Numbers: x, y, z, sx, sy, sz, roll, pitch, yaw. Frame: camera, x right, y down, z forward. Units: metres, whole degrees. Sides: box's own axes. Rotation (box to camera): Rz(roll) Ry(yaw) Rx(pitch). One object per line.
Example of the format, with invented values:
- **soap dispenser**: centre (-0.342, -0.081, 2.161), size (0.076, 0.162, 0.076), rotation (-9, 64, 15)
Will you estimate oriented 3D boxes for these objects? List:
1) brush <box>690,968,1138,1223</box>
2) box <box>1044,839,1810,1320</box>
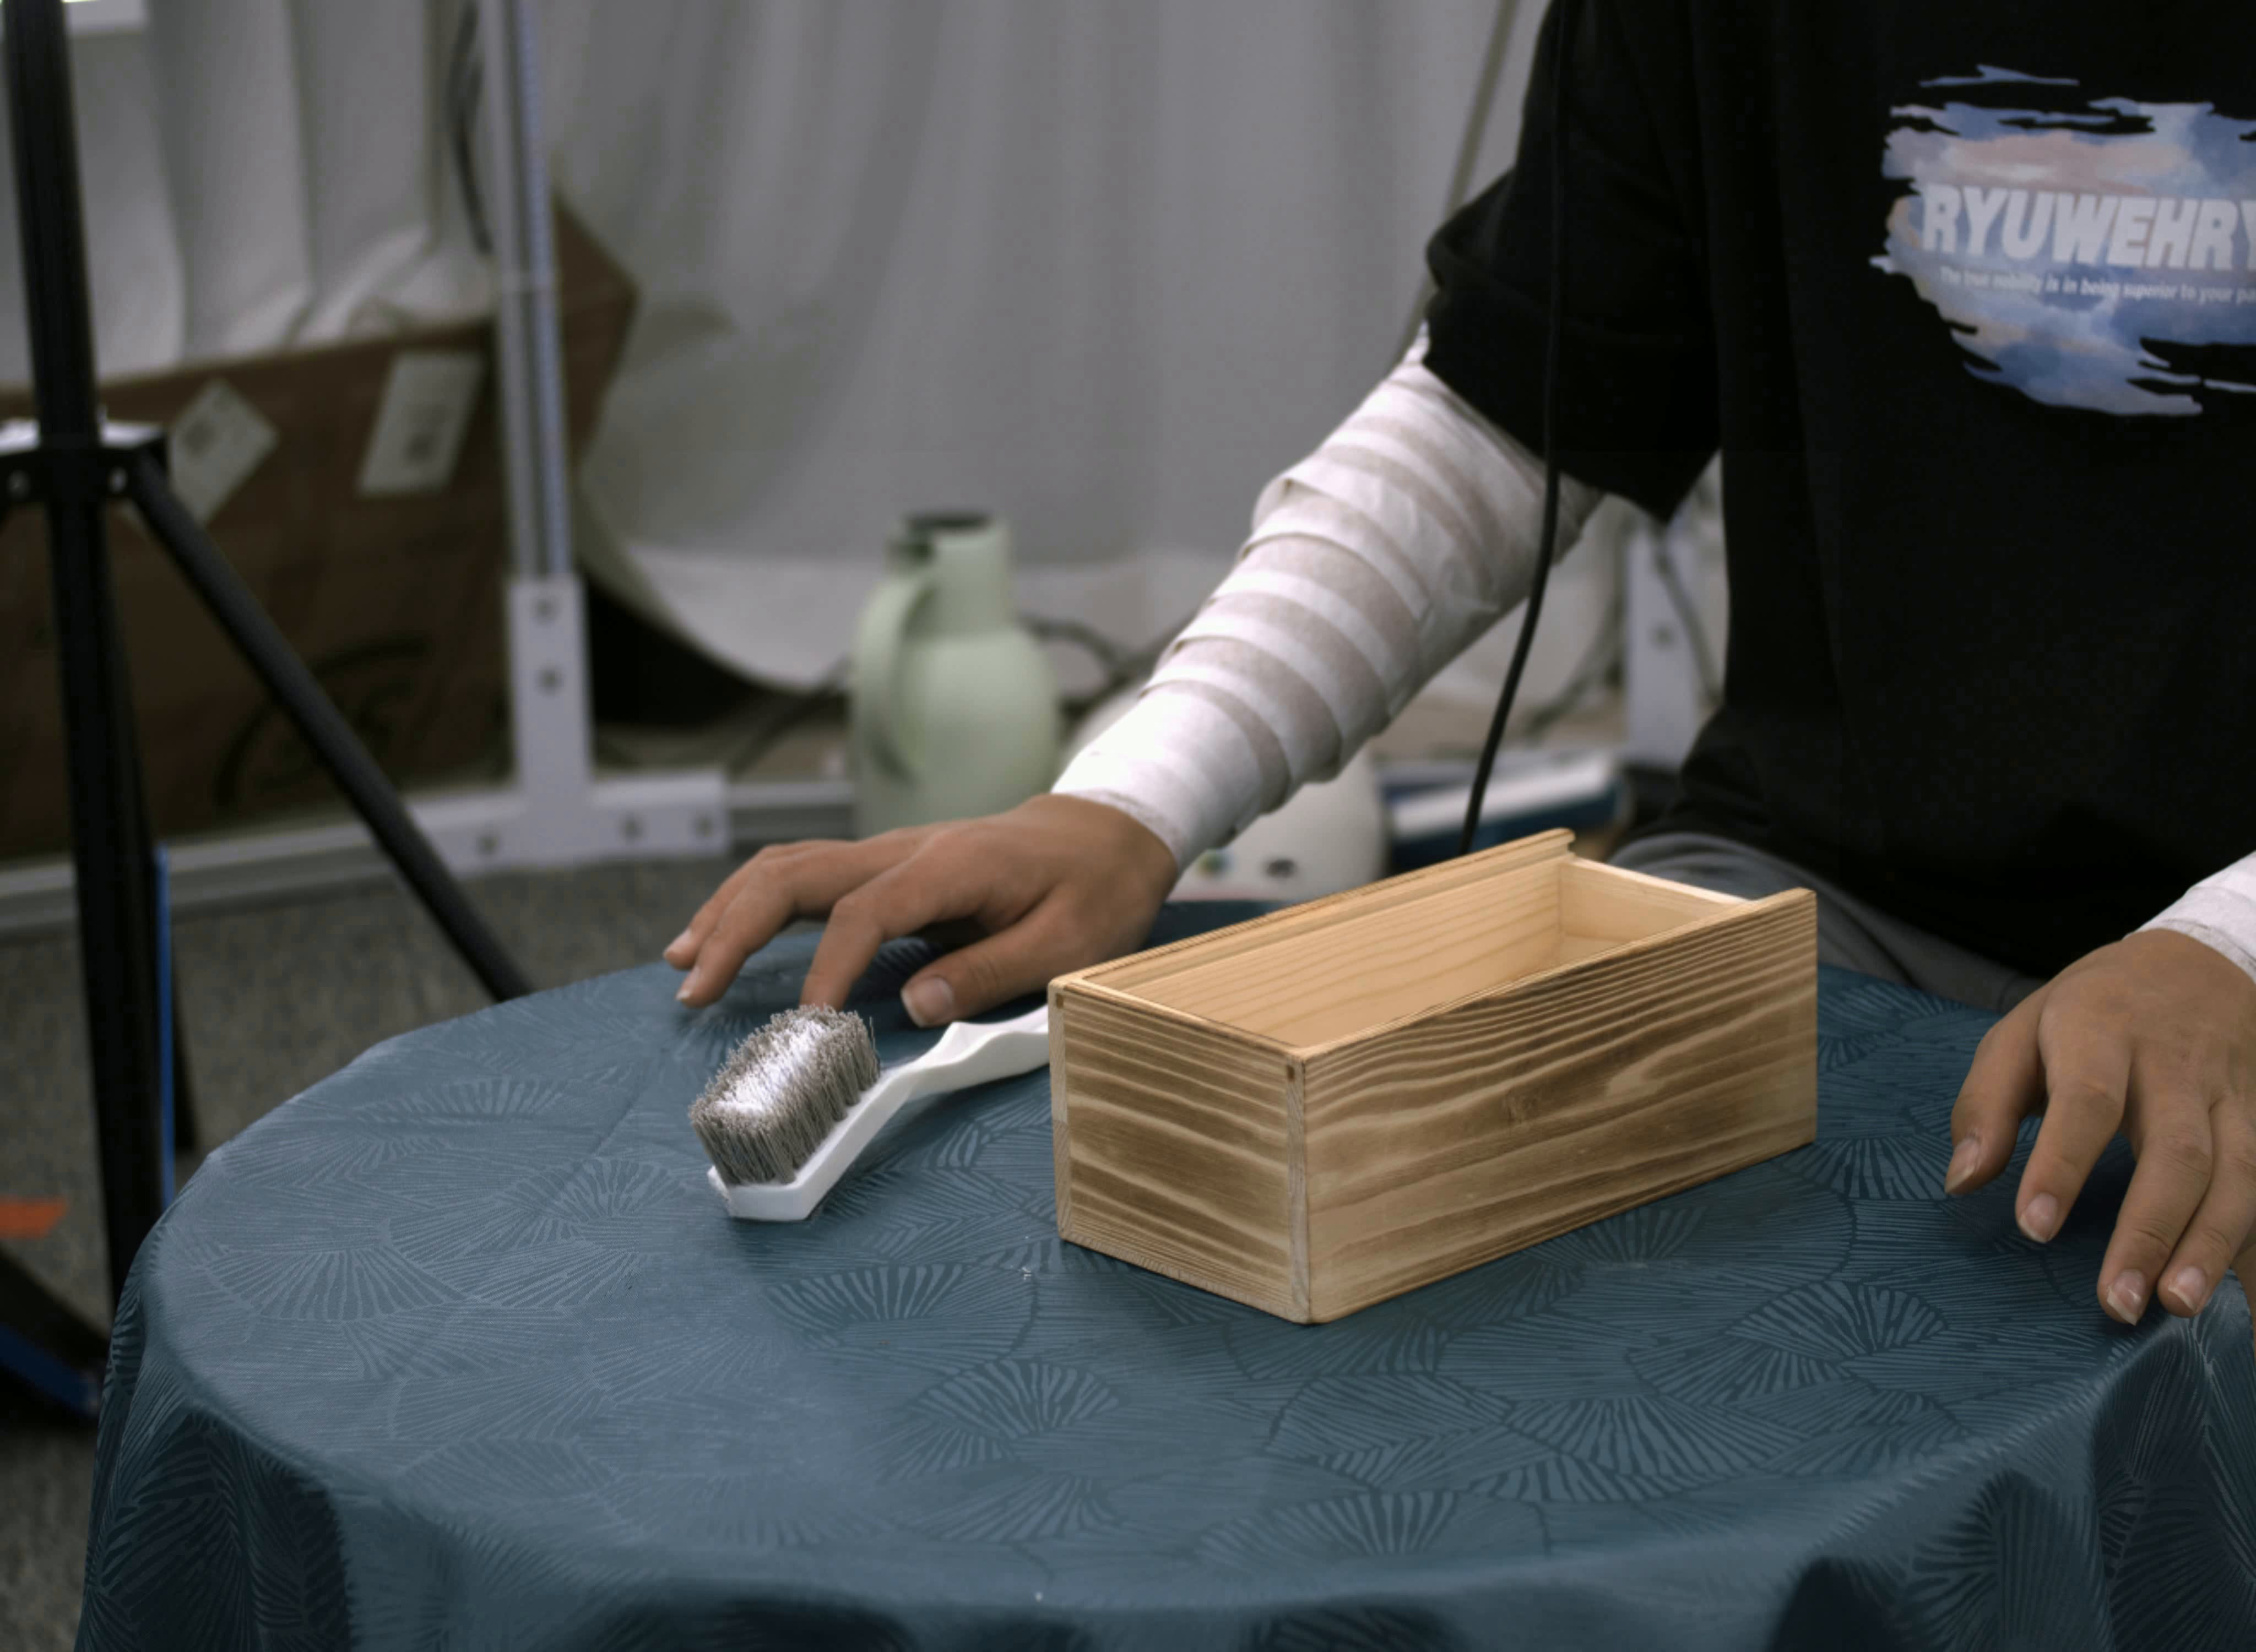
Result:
- **brush**: centre (-0.056, 0.063, 1.635), size (0.035, 0.050, 0.239), rotation (7, 19, 30)
- **box**: centre (0.089, 0.070, 1.537), size (0.206, 0.080, 0.110), rotation (-14, 19, -40)
